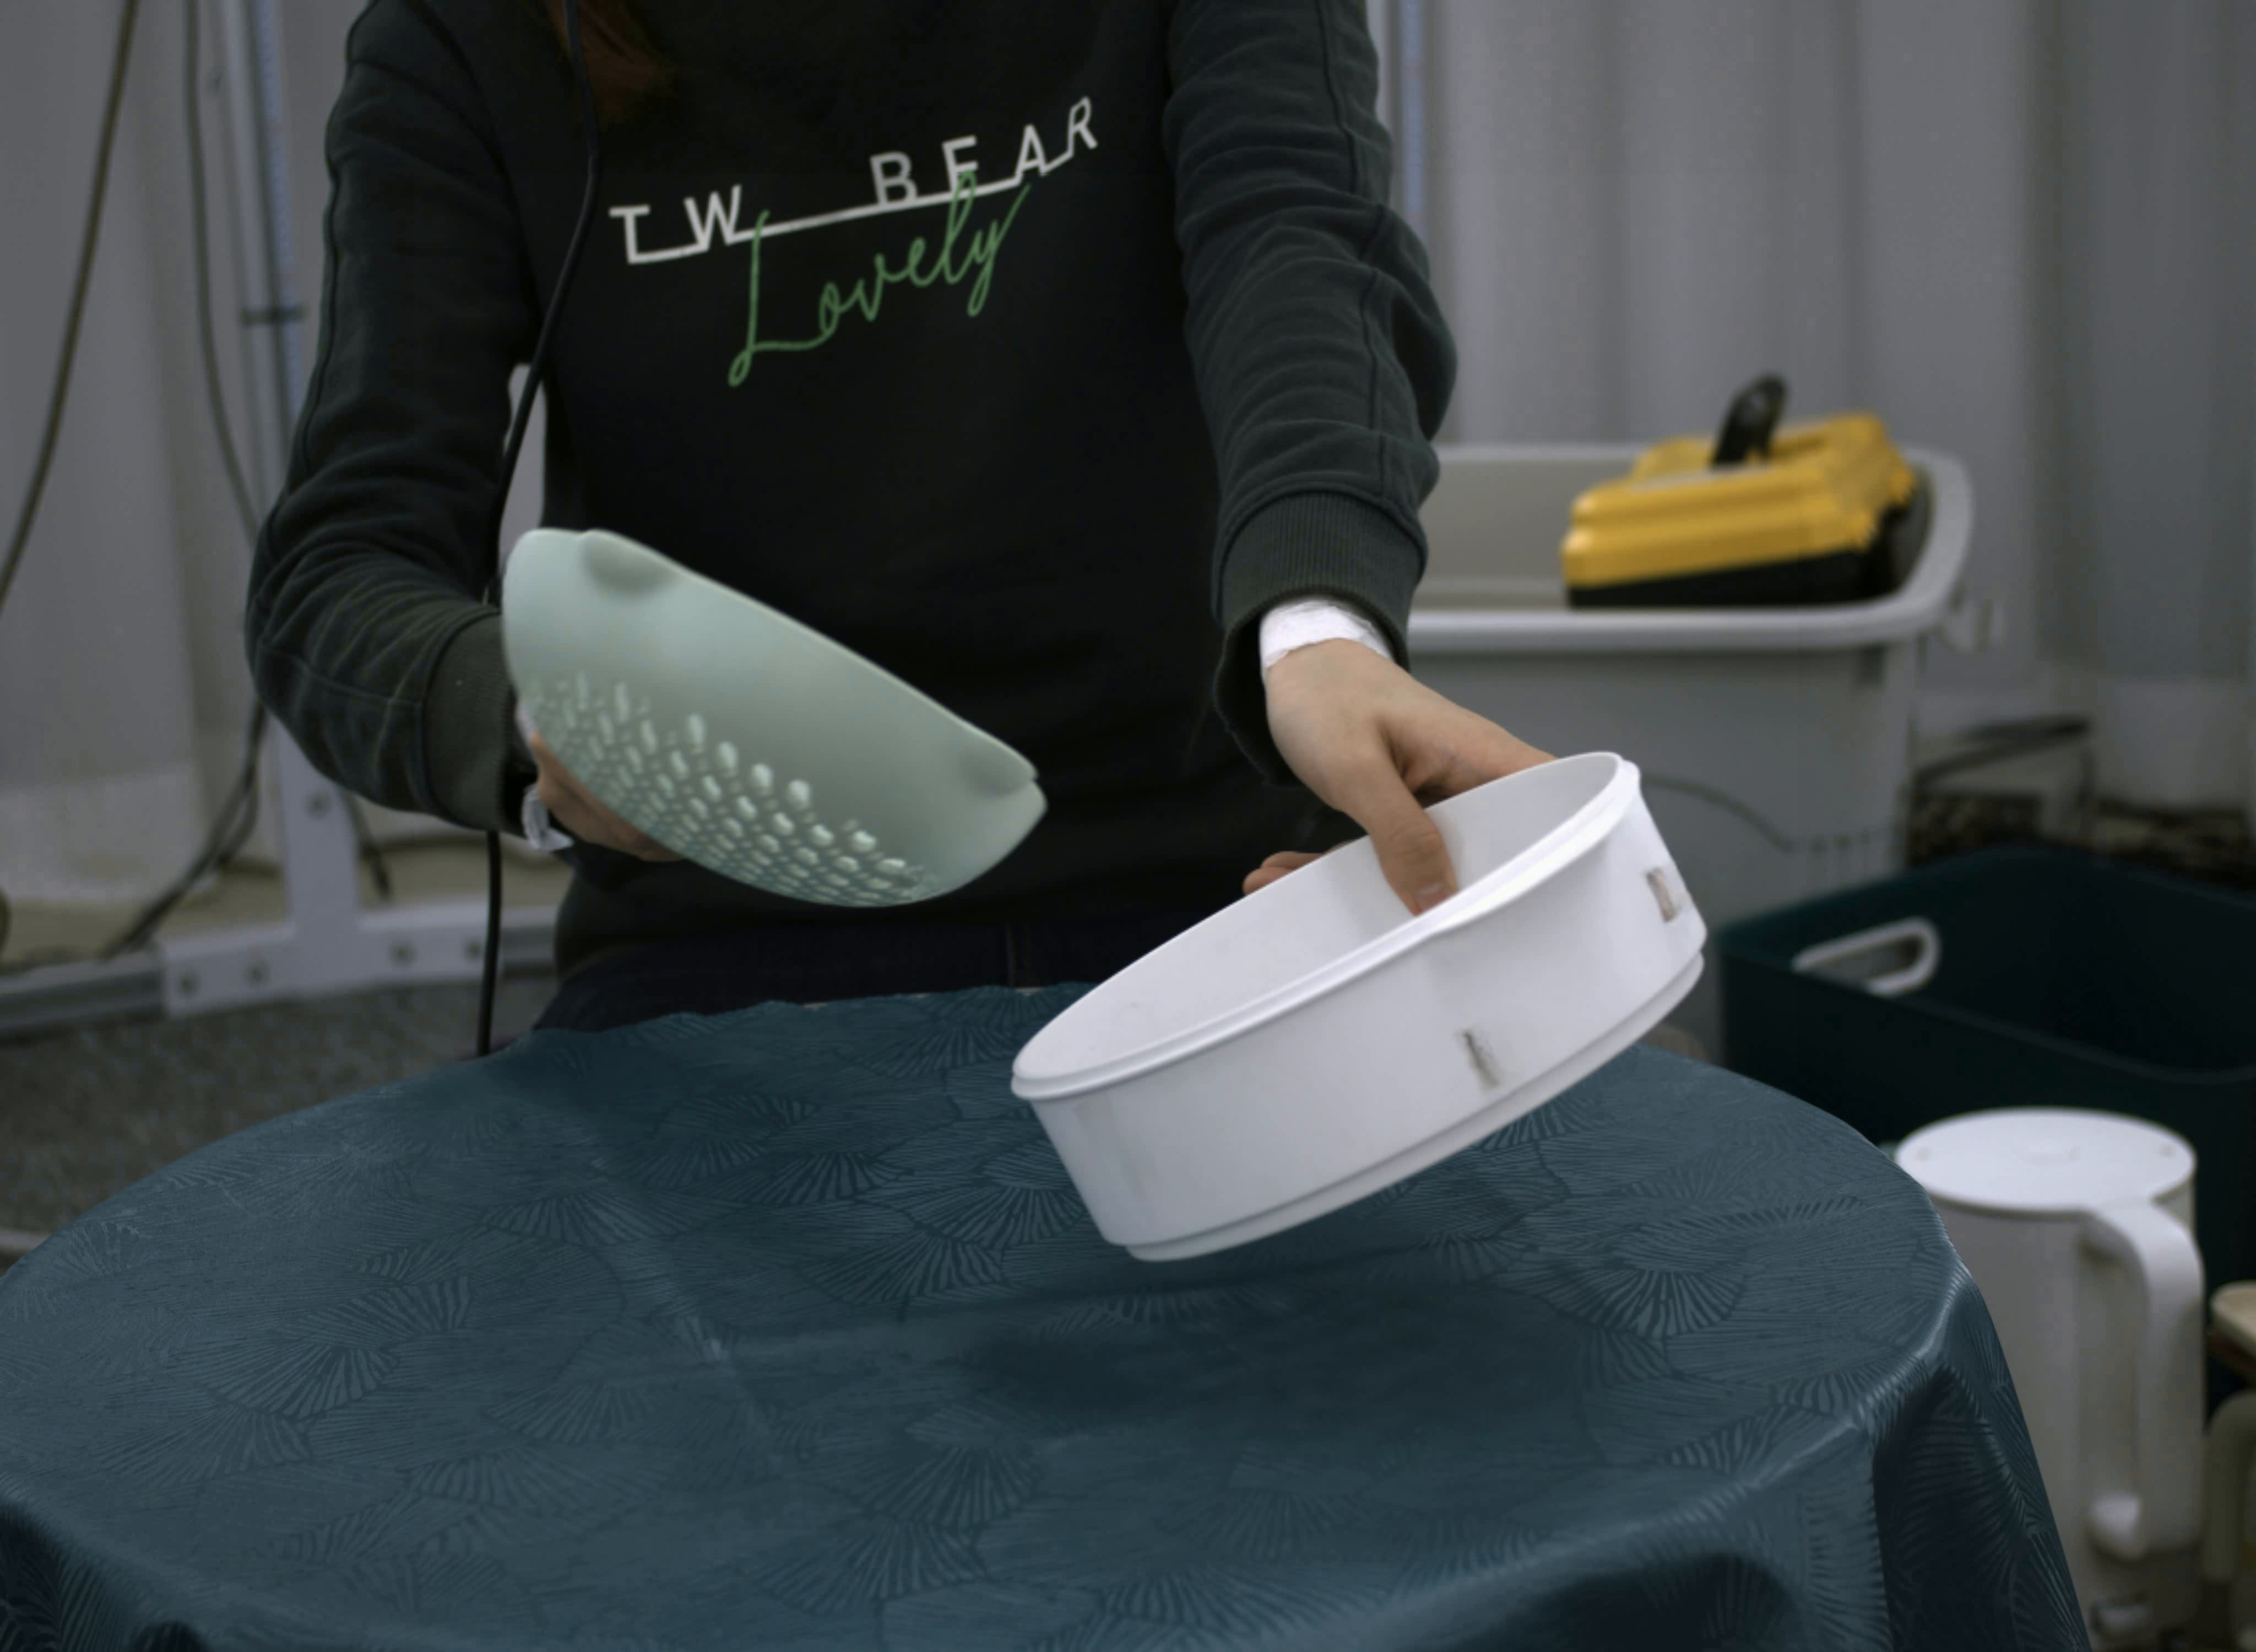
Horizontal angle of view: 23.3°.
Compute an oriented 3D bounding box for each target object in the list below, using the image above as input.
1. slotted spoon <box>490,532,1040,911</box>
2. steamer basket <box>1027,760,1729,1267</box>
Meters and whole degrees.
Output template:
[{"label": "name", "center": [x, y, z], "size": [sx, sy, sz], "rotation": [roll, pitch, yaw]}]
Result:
[{"label": "slotted spoon", "center": [-0.129, -0.019, 1.651], "size": [0.168, 0.075, 0.359], "rotation": [28, -4, -8]}, {"label": "steamer basket", "center": [0.074, 0.055, 1.550], "size": [0.202, 0.069, 0.230], "rotation": [-30, 7, -34]}]
